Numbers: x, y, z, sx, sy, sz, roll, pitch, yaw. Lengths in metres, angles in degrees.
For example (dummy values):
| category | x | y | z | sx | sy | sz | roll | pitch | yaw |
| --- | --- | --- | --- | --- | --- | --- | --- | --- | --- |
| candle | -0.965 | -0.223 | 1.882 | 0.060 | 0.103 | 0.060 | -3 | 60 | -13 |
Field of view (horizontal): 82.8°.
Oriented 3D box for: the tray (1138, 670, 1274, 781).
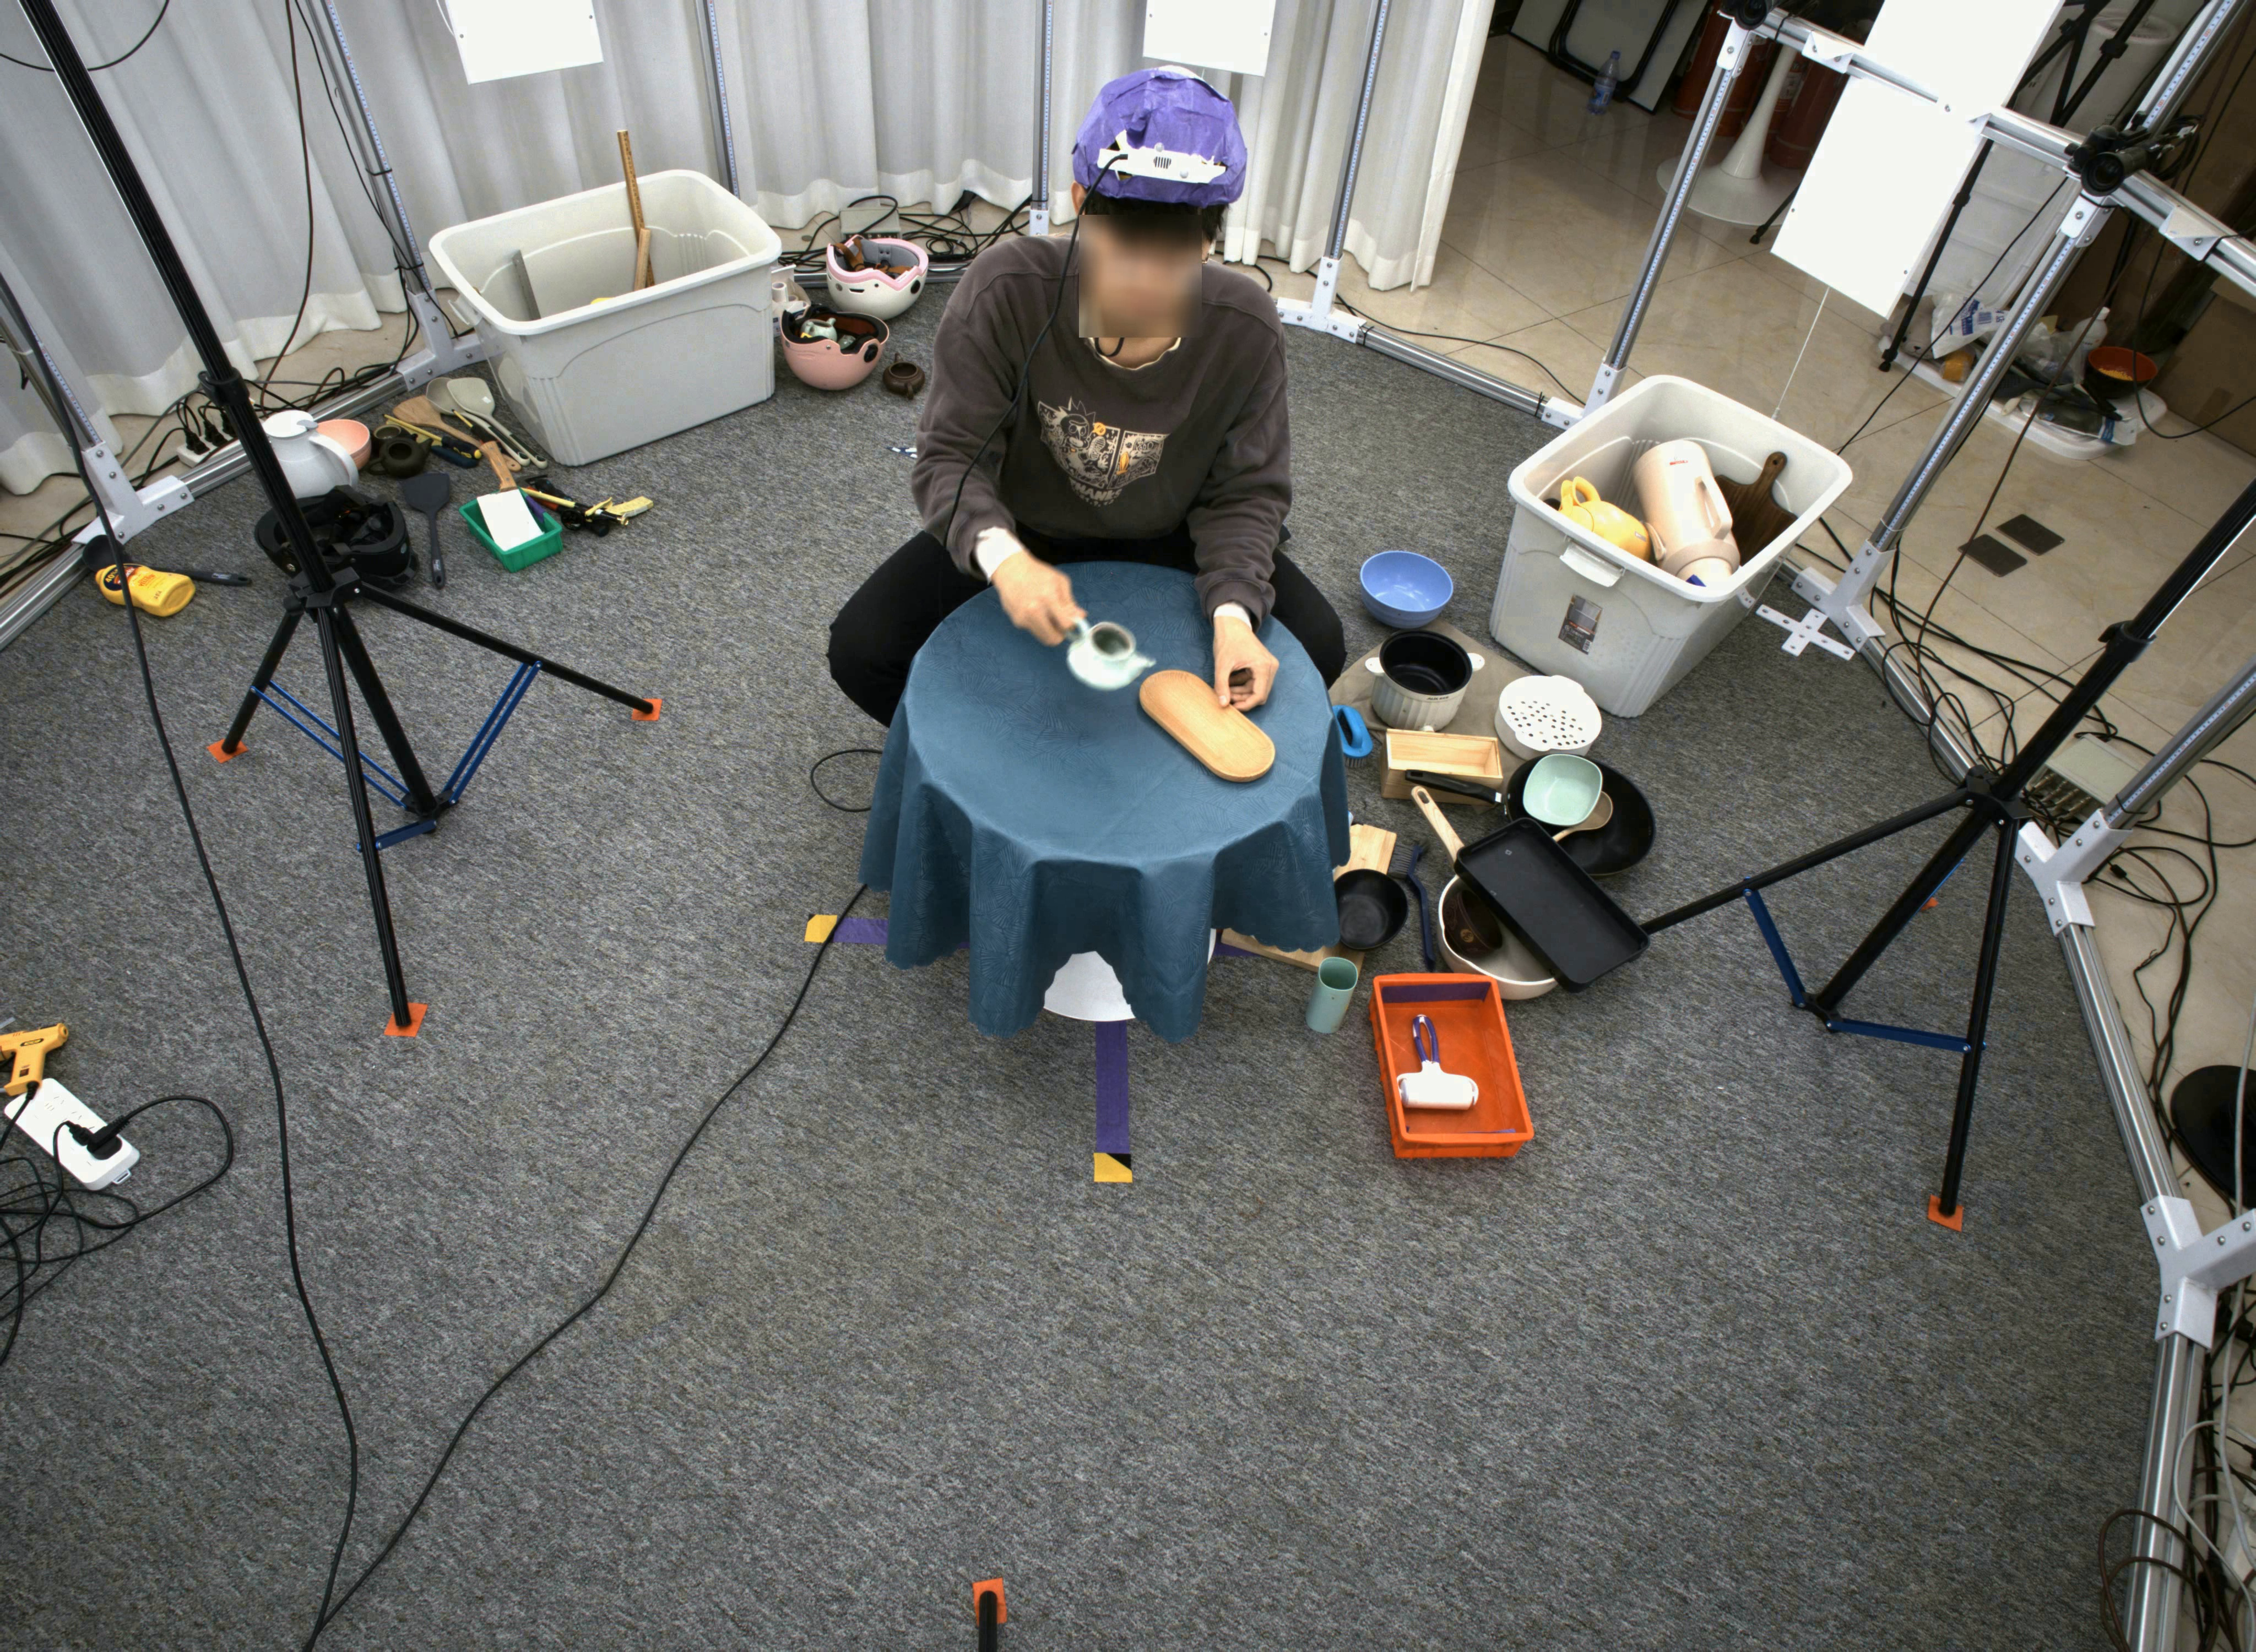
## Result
| category | x | y | z | sx | sy | sz | roll | pitch | yaw |
| --- | --- | --- | --- | --- | --- | --- | --- | --- | --- |
| tray | 0.106 | -0.142 | 1.784 | 0.102 | 0.020 | 0.235 | -30 | 56 | -27 |

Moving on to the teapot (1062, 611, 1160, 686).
| category | x | y | z | sx | sy | sz | roll | pitch | yaw |
| --- | --- | --- | --- | --- | --- | --- | --- | --- | --- |
| teapot | -0.028 | -0.236 | 1.692 | 0.137 | 0.060 | 0.098 | 29 | 53 | -1 |
